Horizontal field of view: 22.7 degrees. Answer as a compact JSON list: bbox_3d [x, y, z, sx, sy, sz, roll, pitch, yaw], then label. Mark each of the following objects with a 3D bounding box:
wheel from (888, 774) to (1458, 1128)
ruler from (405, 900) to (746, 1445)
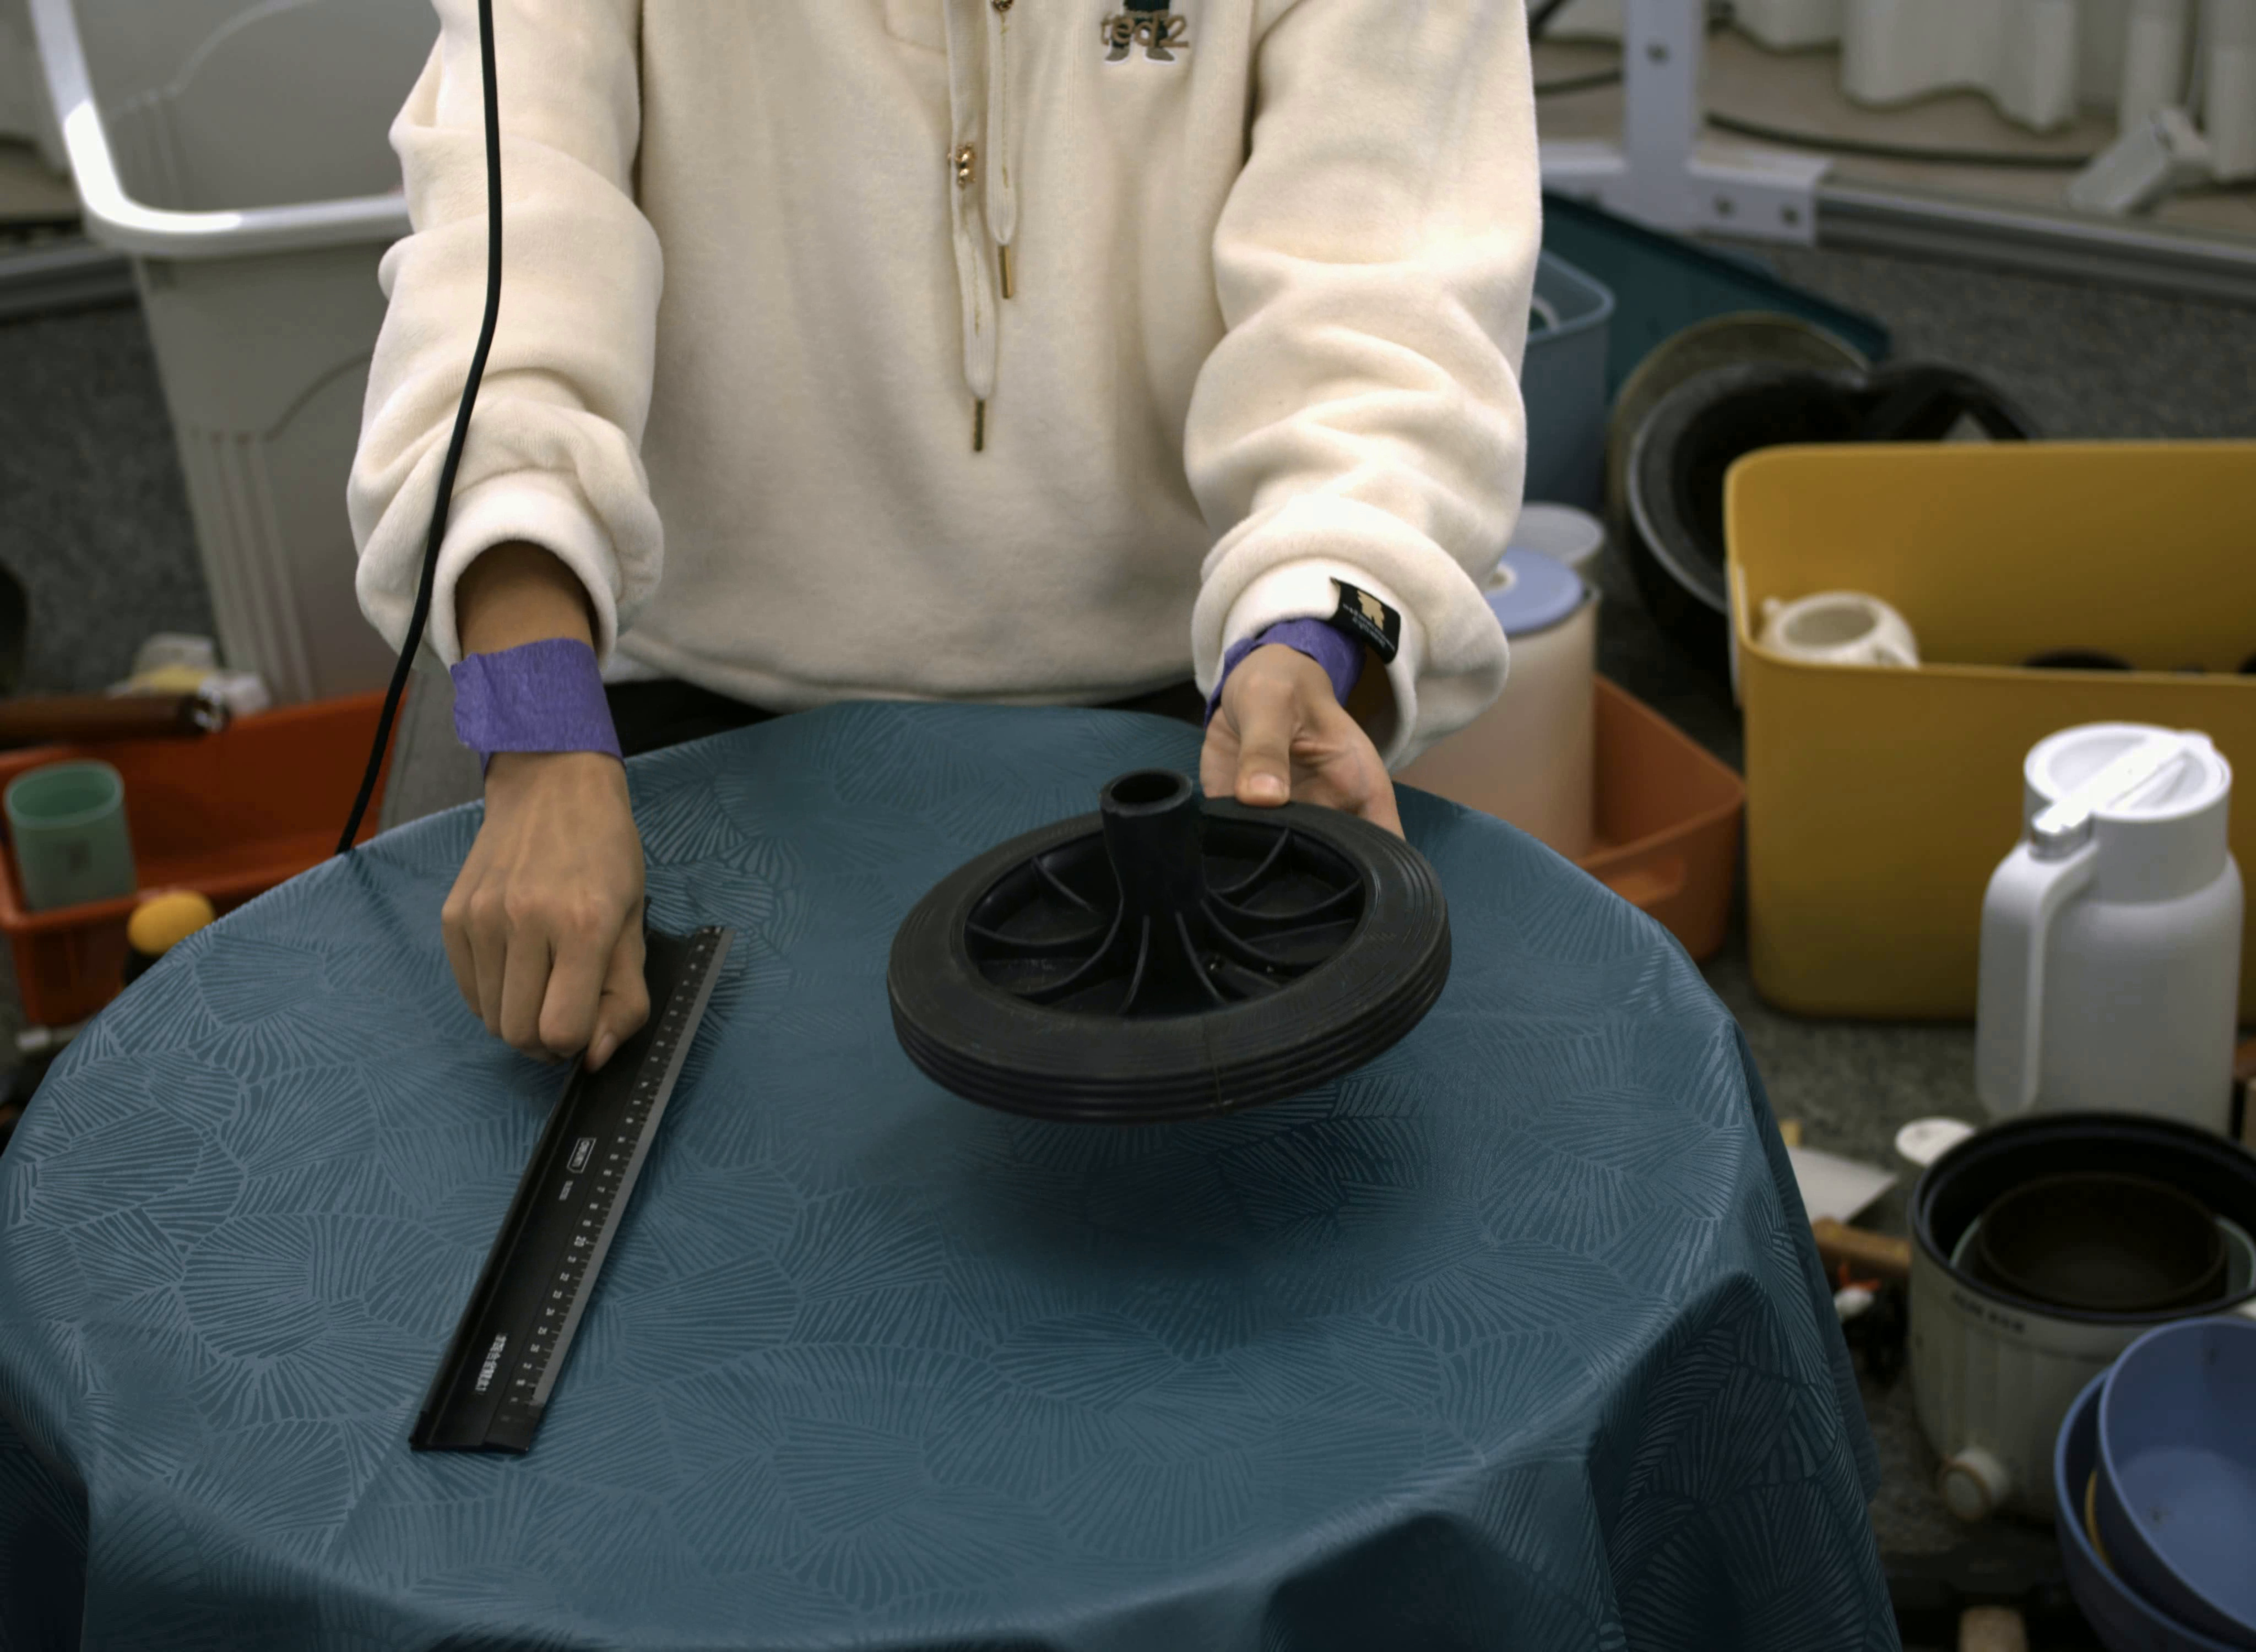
[{"bbox_3d":[0.012,0.025,1.854,0.188,0.078,0.190,8,31,26],"label":"wheel"},{"bbox_3d":[-0.181,0.110,1.870,0.039,0.017,0.318,3,30,10],"label":"ruler"}]
